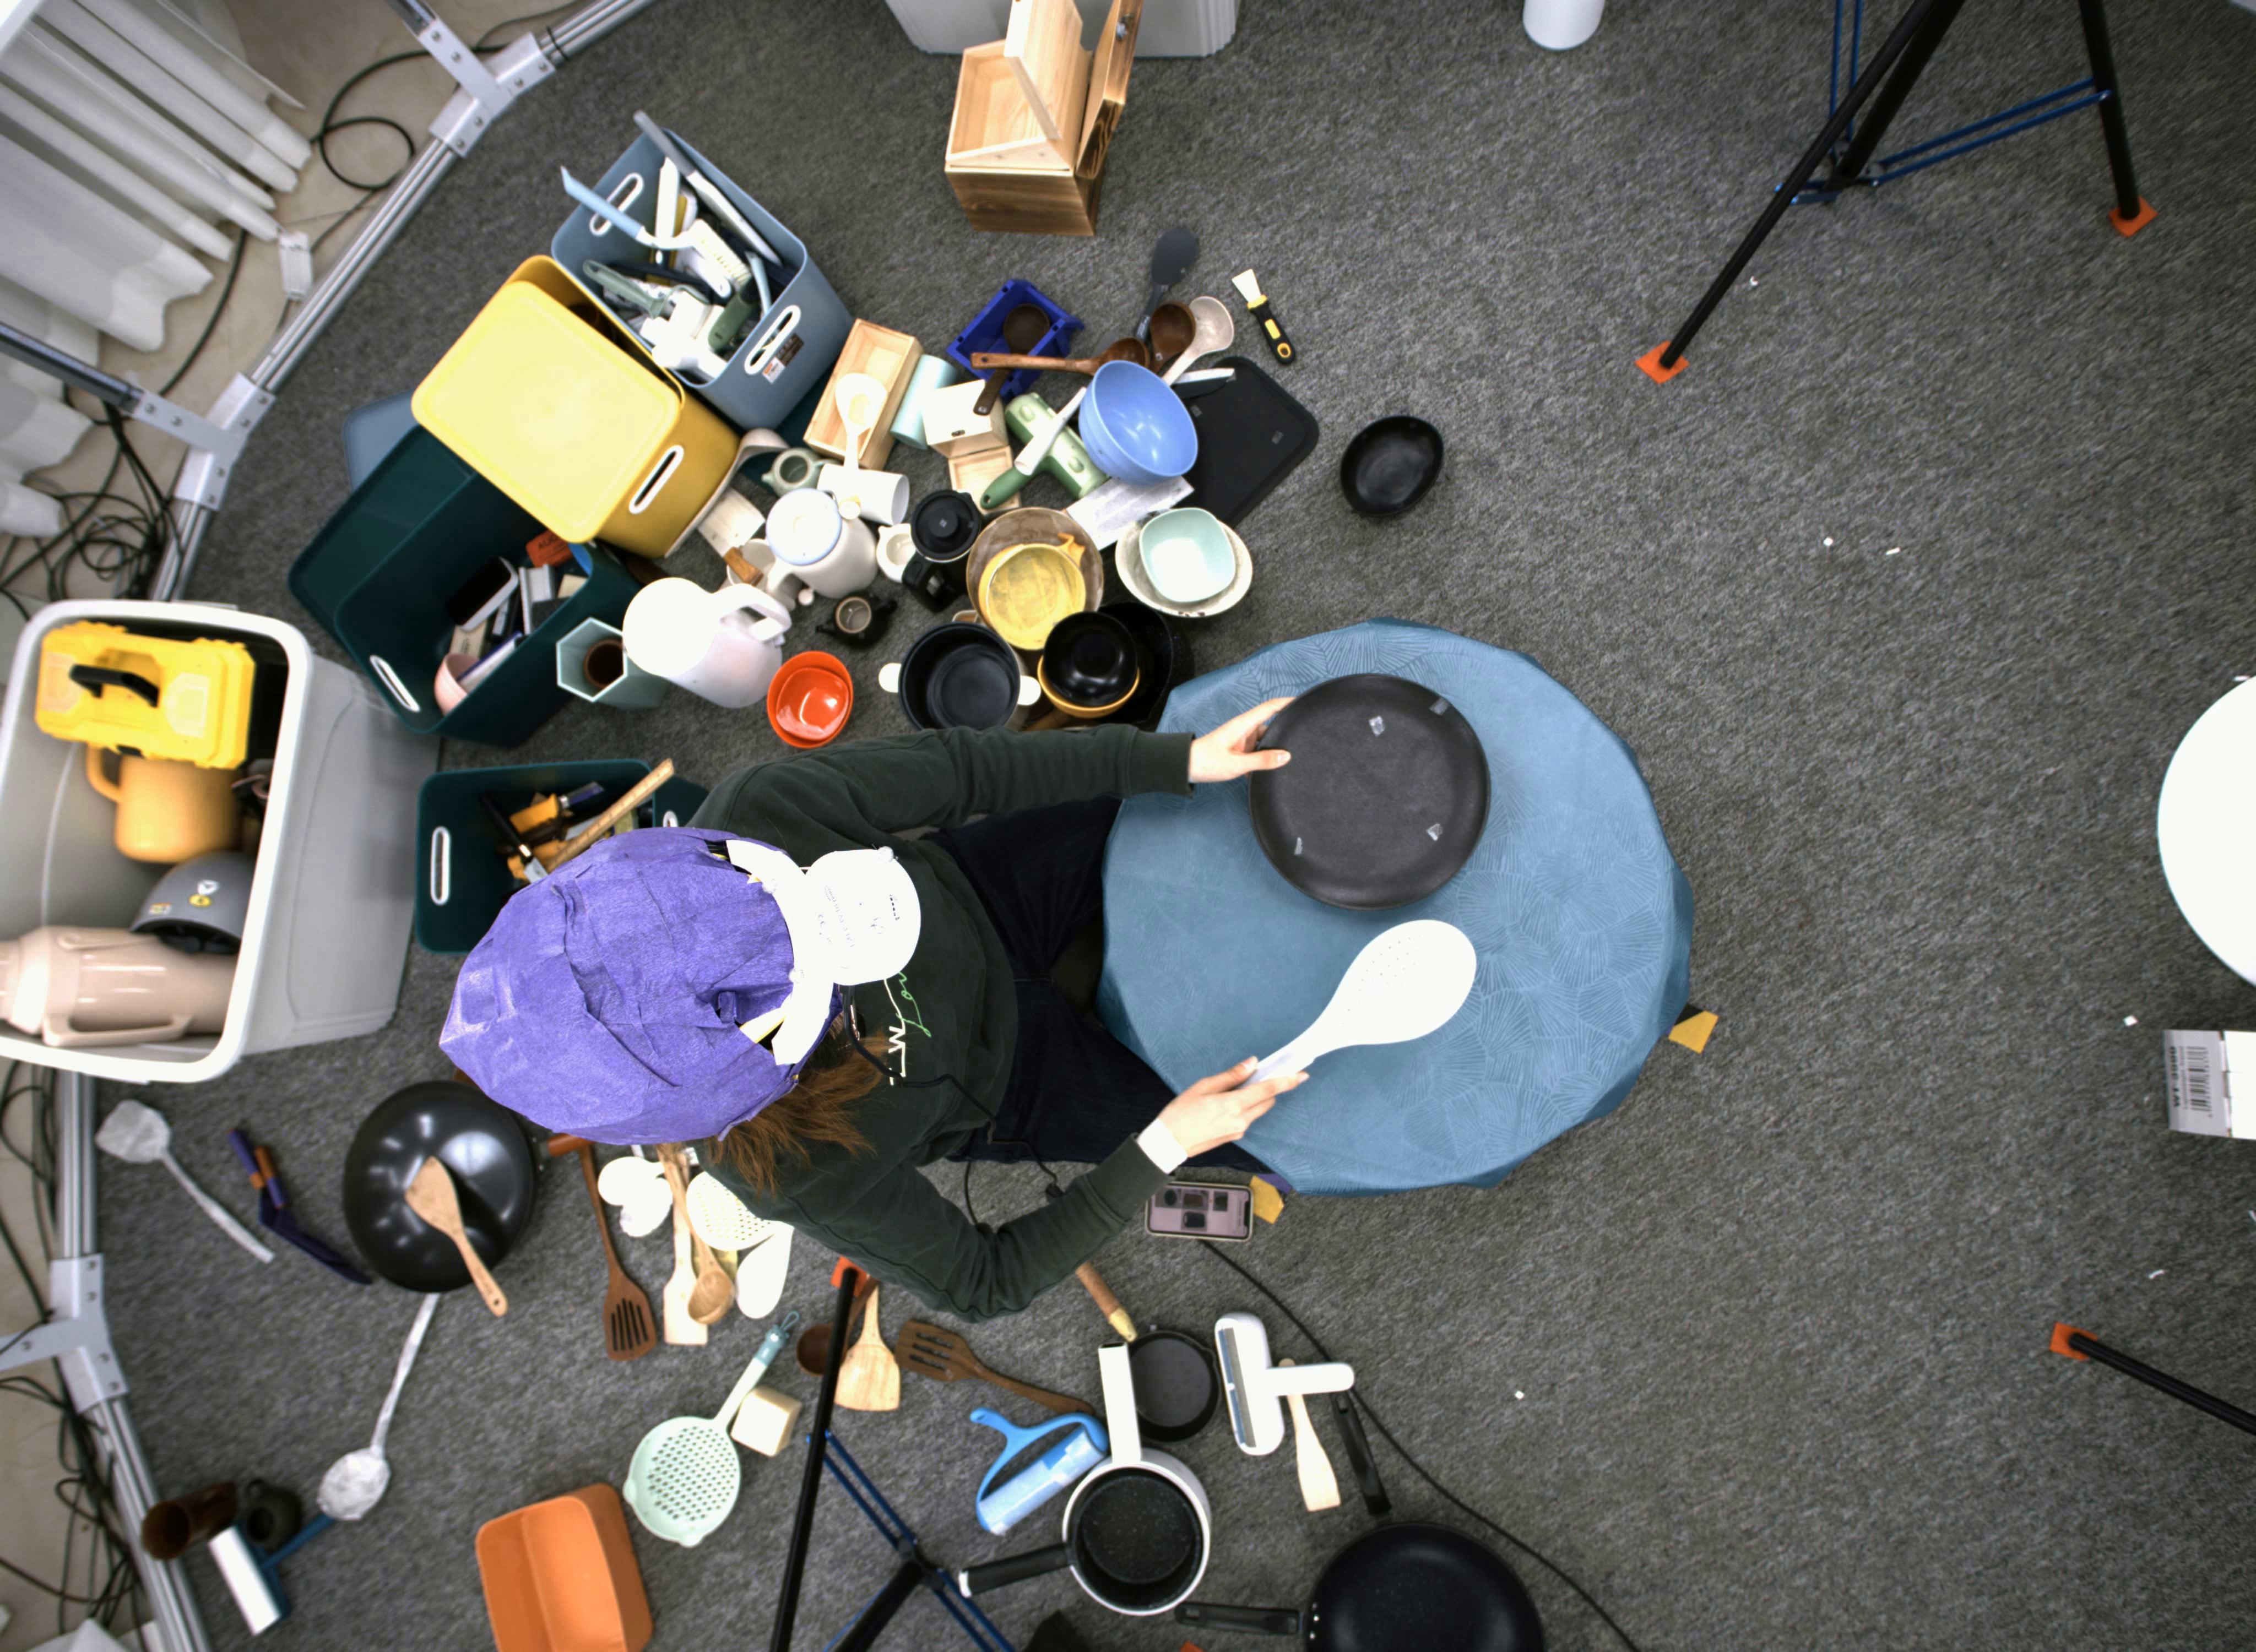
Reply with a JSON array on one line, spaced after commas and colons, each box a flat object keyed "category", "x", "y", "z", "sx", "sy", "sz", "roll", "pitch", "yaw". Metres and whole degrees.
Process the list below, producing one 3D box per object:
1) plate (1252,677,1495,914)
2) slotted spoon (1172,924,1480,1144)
[{"category": "plate", "x": 0.249, "y": -0.032, "z": 1.401, "sx": 0.245, "sy": 0.023, "sz": 0.247, "roll": 1, "pitch": 103, "yaw": 6}, {"category": "slotted spoon", "x": 0.190, "y": 0.213, "z": 1.355, "sx": 0.352, "sy": 0.133, "sz": 0.046, "roll": -31, "pitch": 126, "yaw": 10}]
